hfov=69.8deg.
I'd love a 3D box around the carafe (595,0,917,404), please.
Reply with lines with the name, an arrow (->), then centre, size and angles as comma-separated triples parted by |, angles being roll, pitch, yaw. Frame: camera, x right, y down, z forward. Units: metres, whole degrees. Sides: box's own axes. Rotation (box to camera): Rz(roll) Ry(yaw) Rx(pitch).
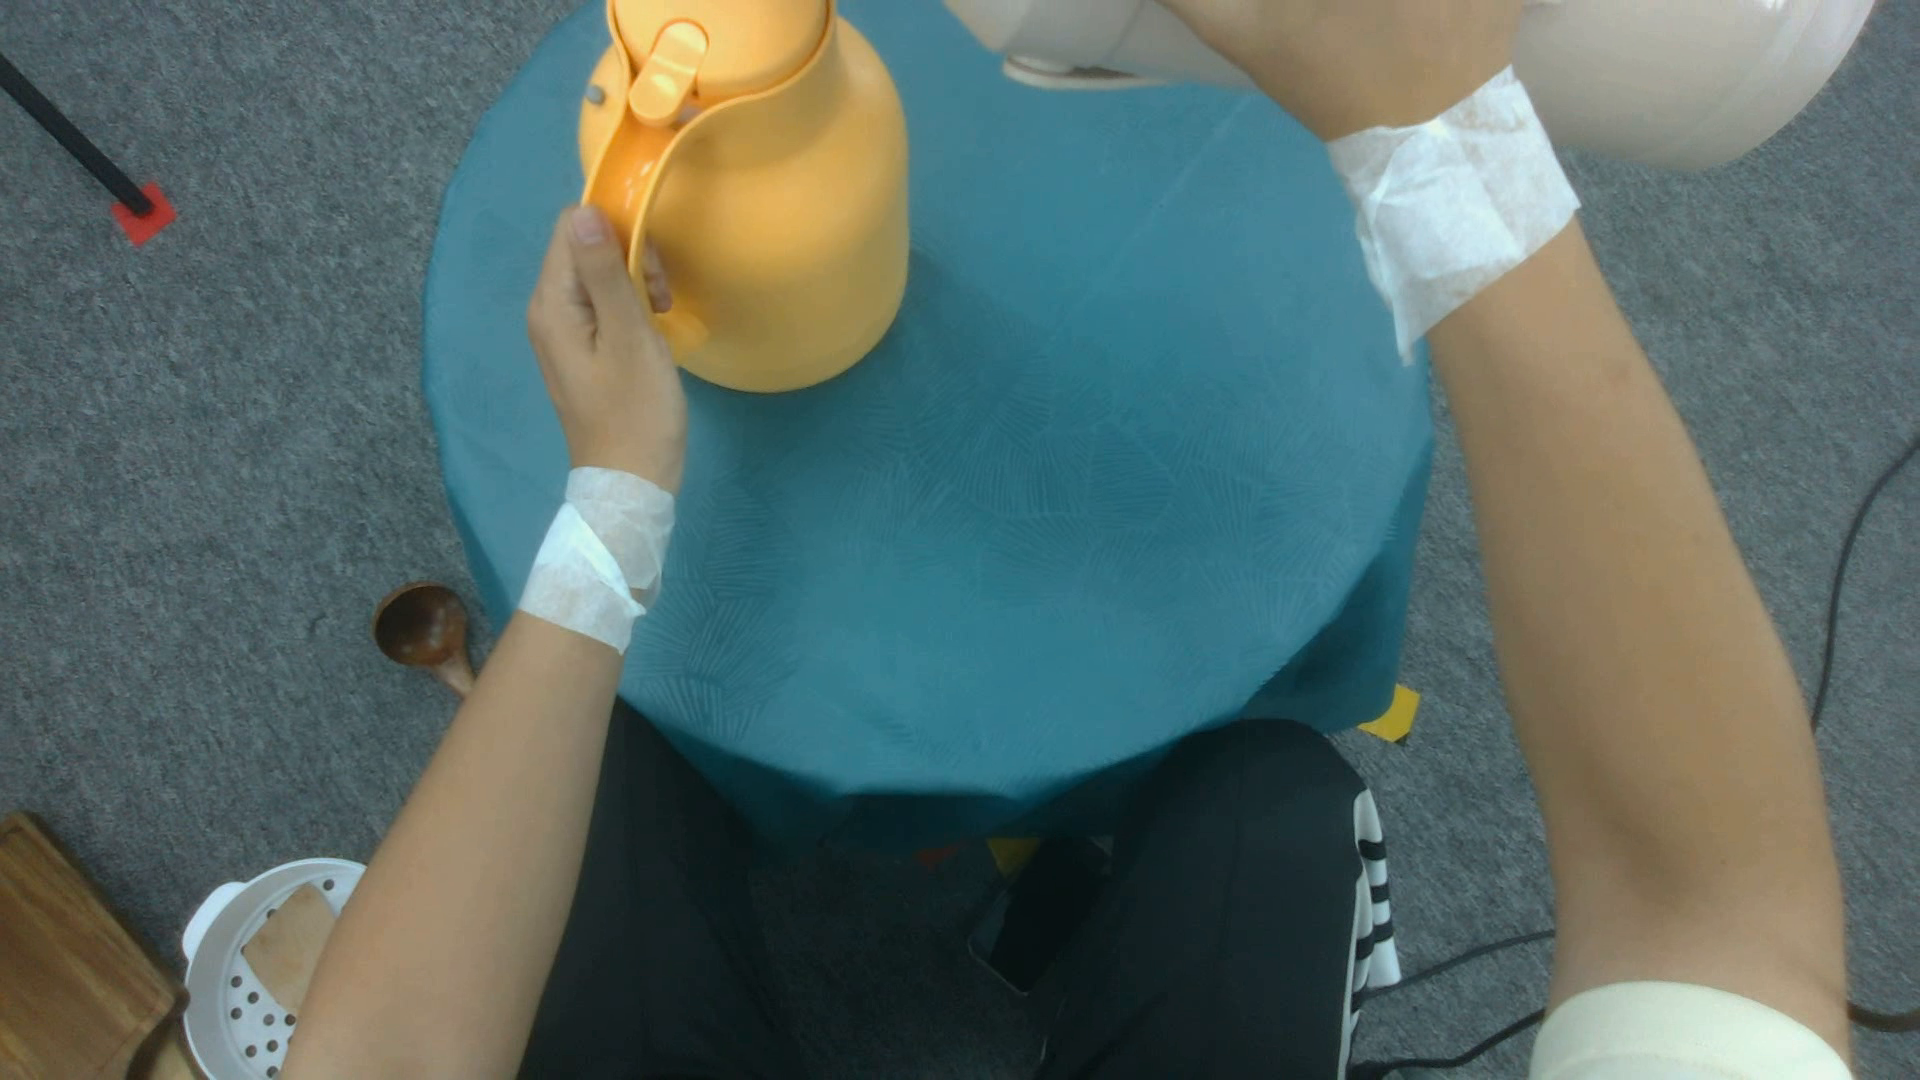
carafe -> -0.113, -0.172, 0.708 | 0.163, 0.259, 0.203 | 25, 71, 8

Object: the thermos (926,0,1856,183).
thermos -> 0.122, -0.234, 0.514 | 0.407, 0.174, 0.208 | 6, 34, -13
